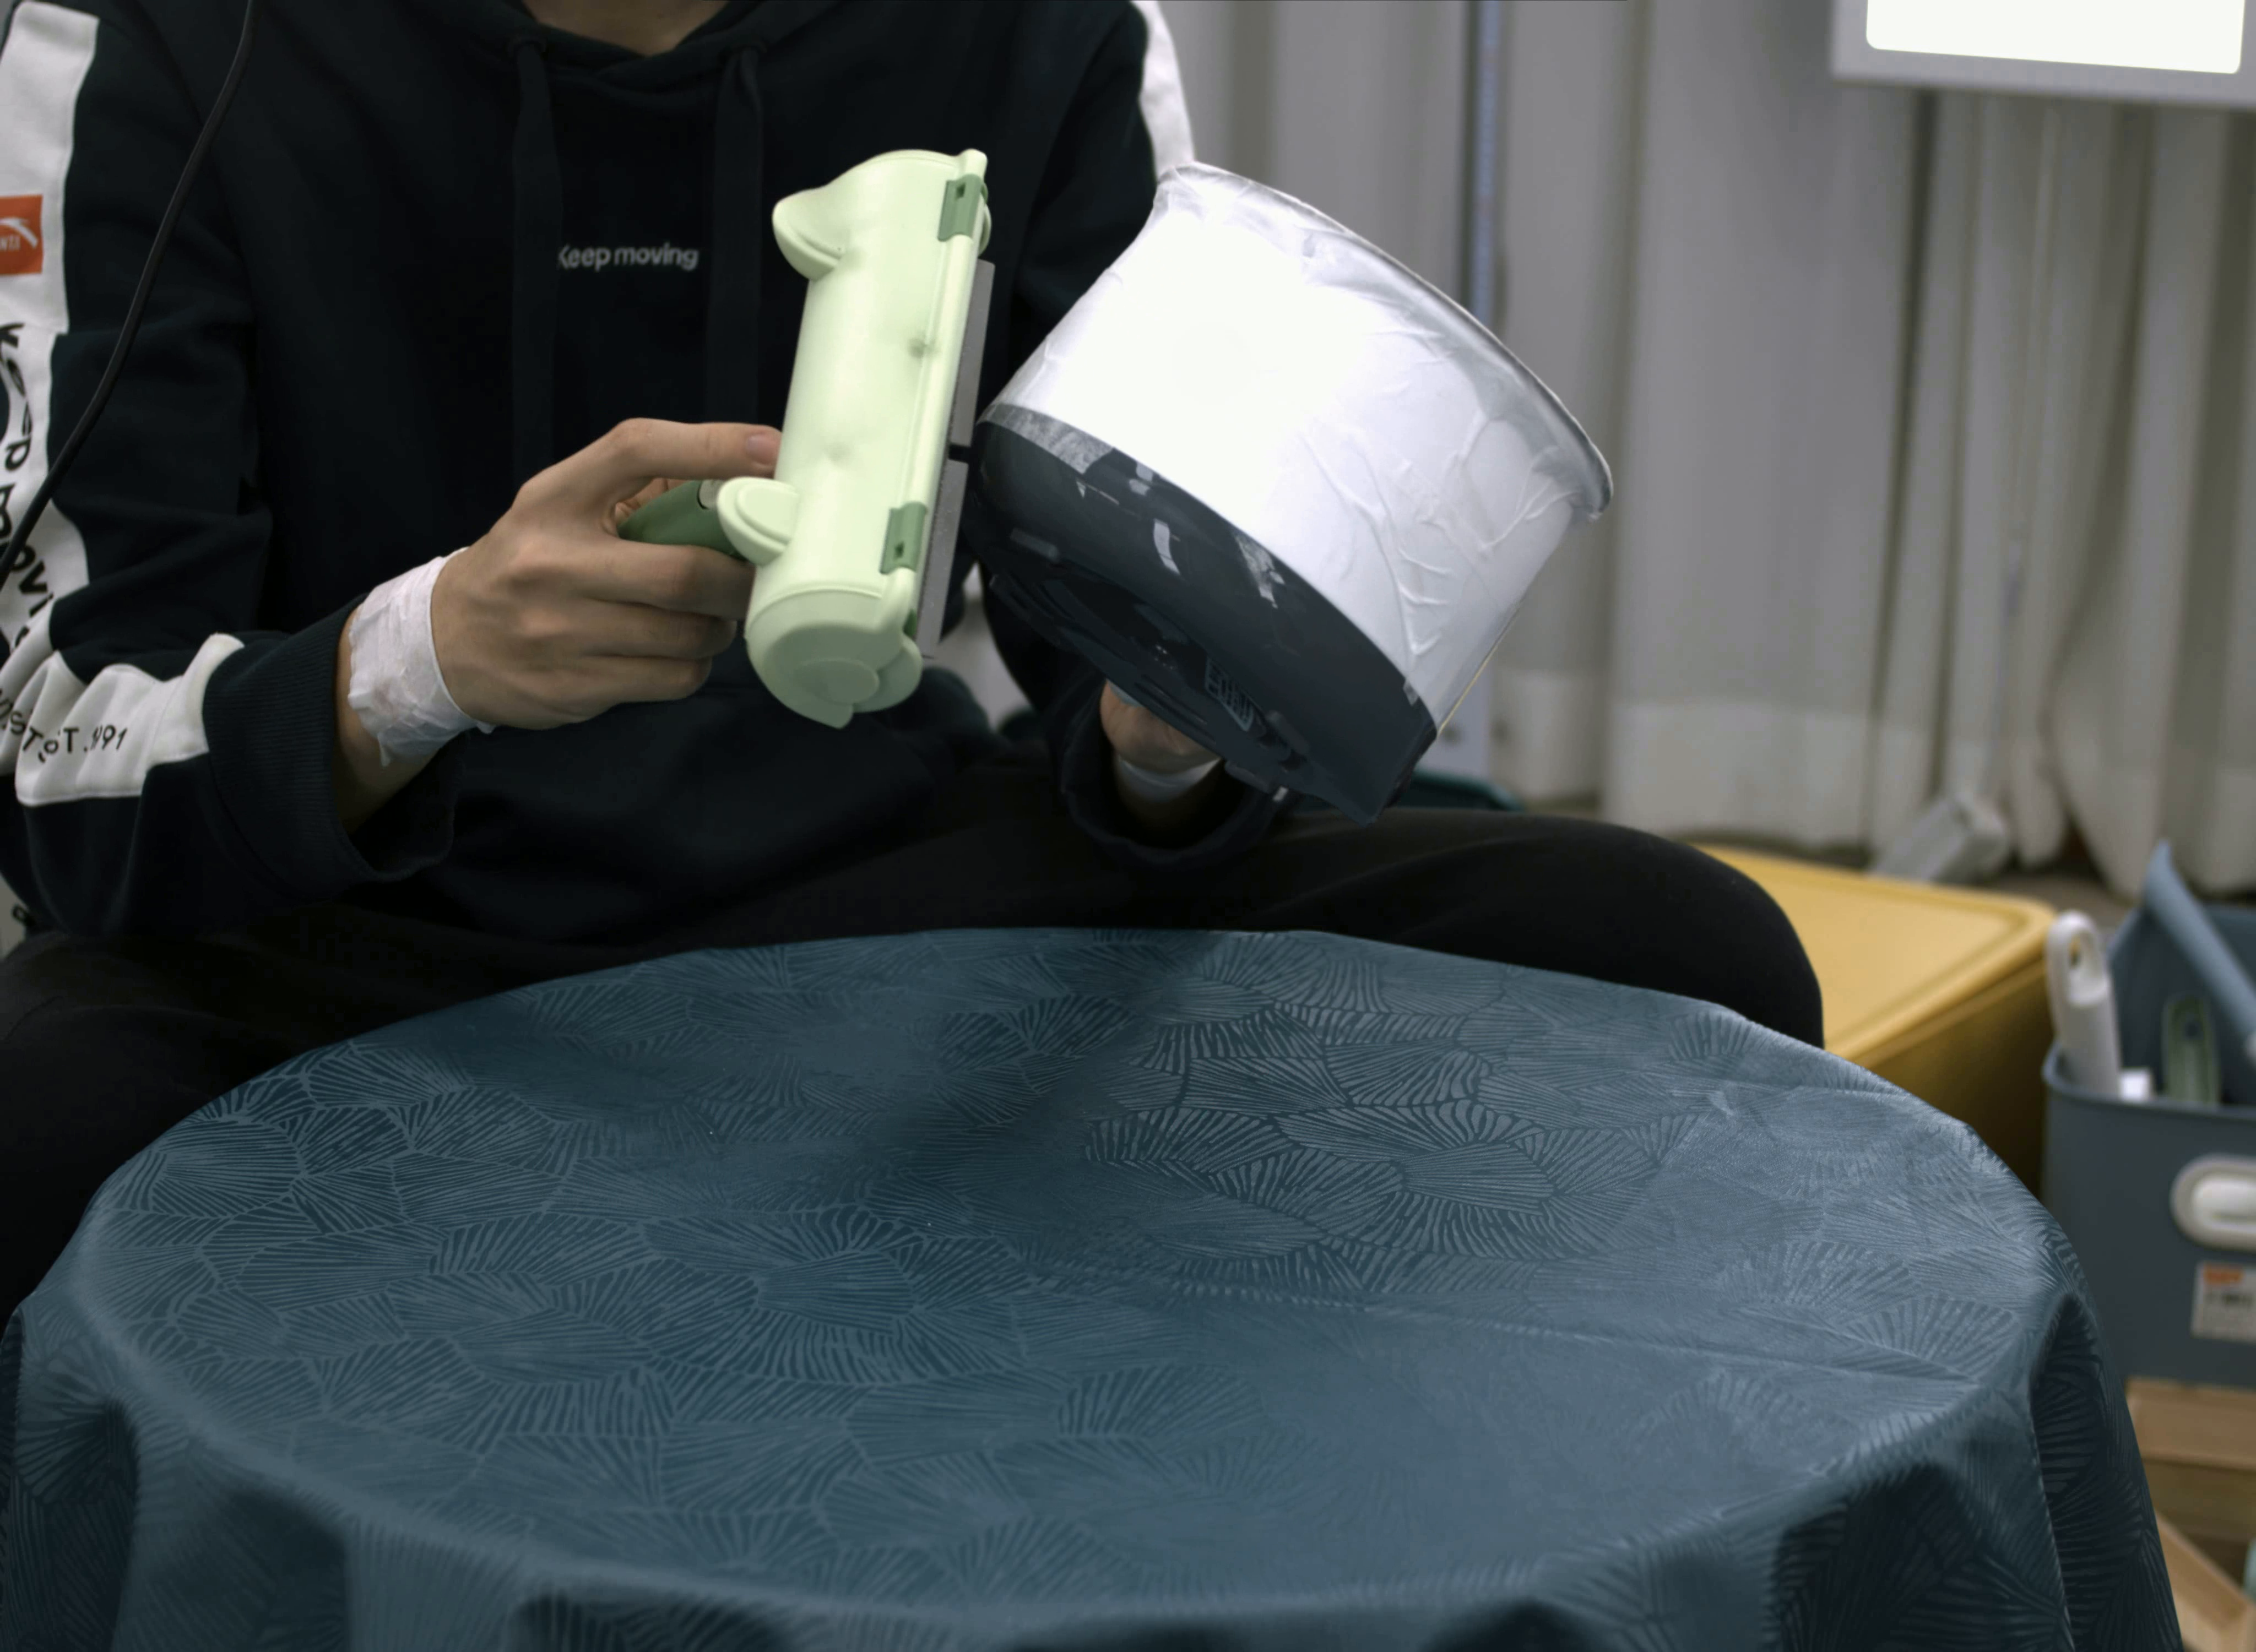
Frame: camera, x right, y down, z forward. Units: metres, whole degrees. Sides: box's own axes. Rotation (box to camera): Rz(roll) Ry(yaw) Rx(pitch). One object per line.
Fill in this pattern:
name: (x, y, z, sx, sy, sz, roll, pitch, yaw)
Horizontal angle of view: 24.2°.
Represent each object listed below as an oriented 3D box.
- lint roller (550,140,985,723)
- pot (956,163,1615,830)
lint roller: (-0.127, -0.111, 1.623, 0.182, 0.083, 0.197, -19, 46, 31)
pot: (0.042, -0.099, 1.684, 0.179, 0.136, 0.233, 37, -9, -1)
